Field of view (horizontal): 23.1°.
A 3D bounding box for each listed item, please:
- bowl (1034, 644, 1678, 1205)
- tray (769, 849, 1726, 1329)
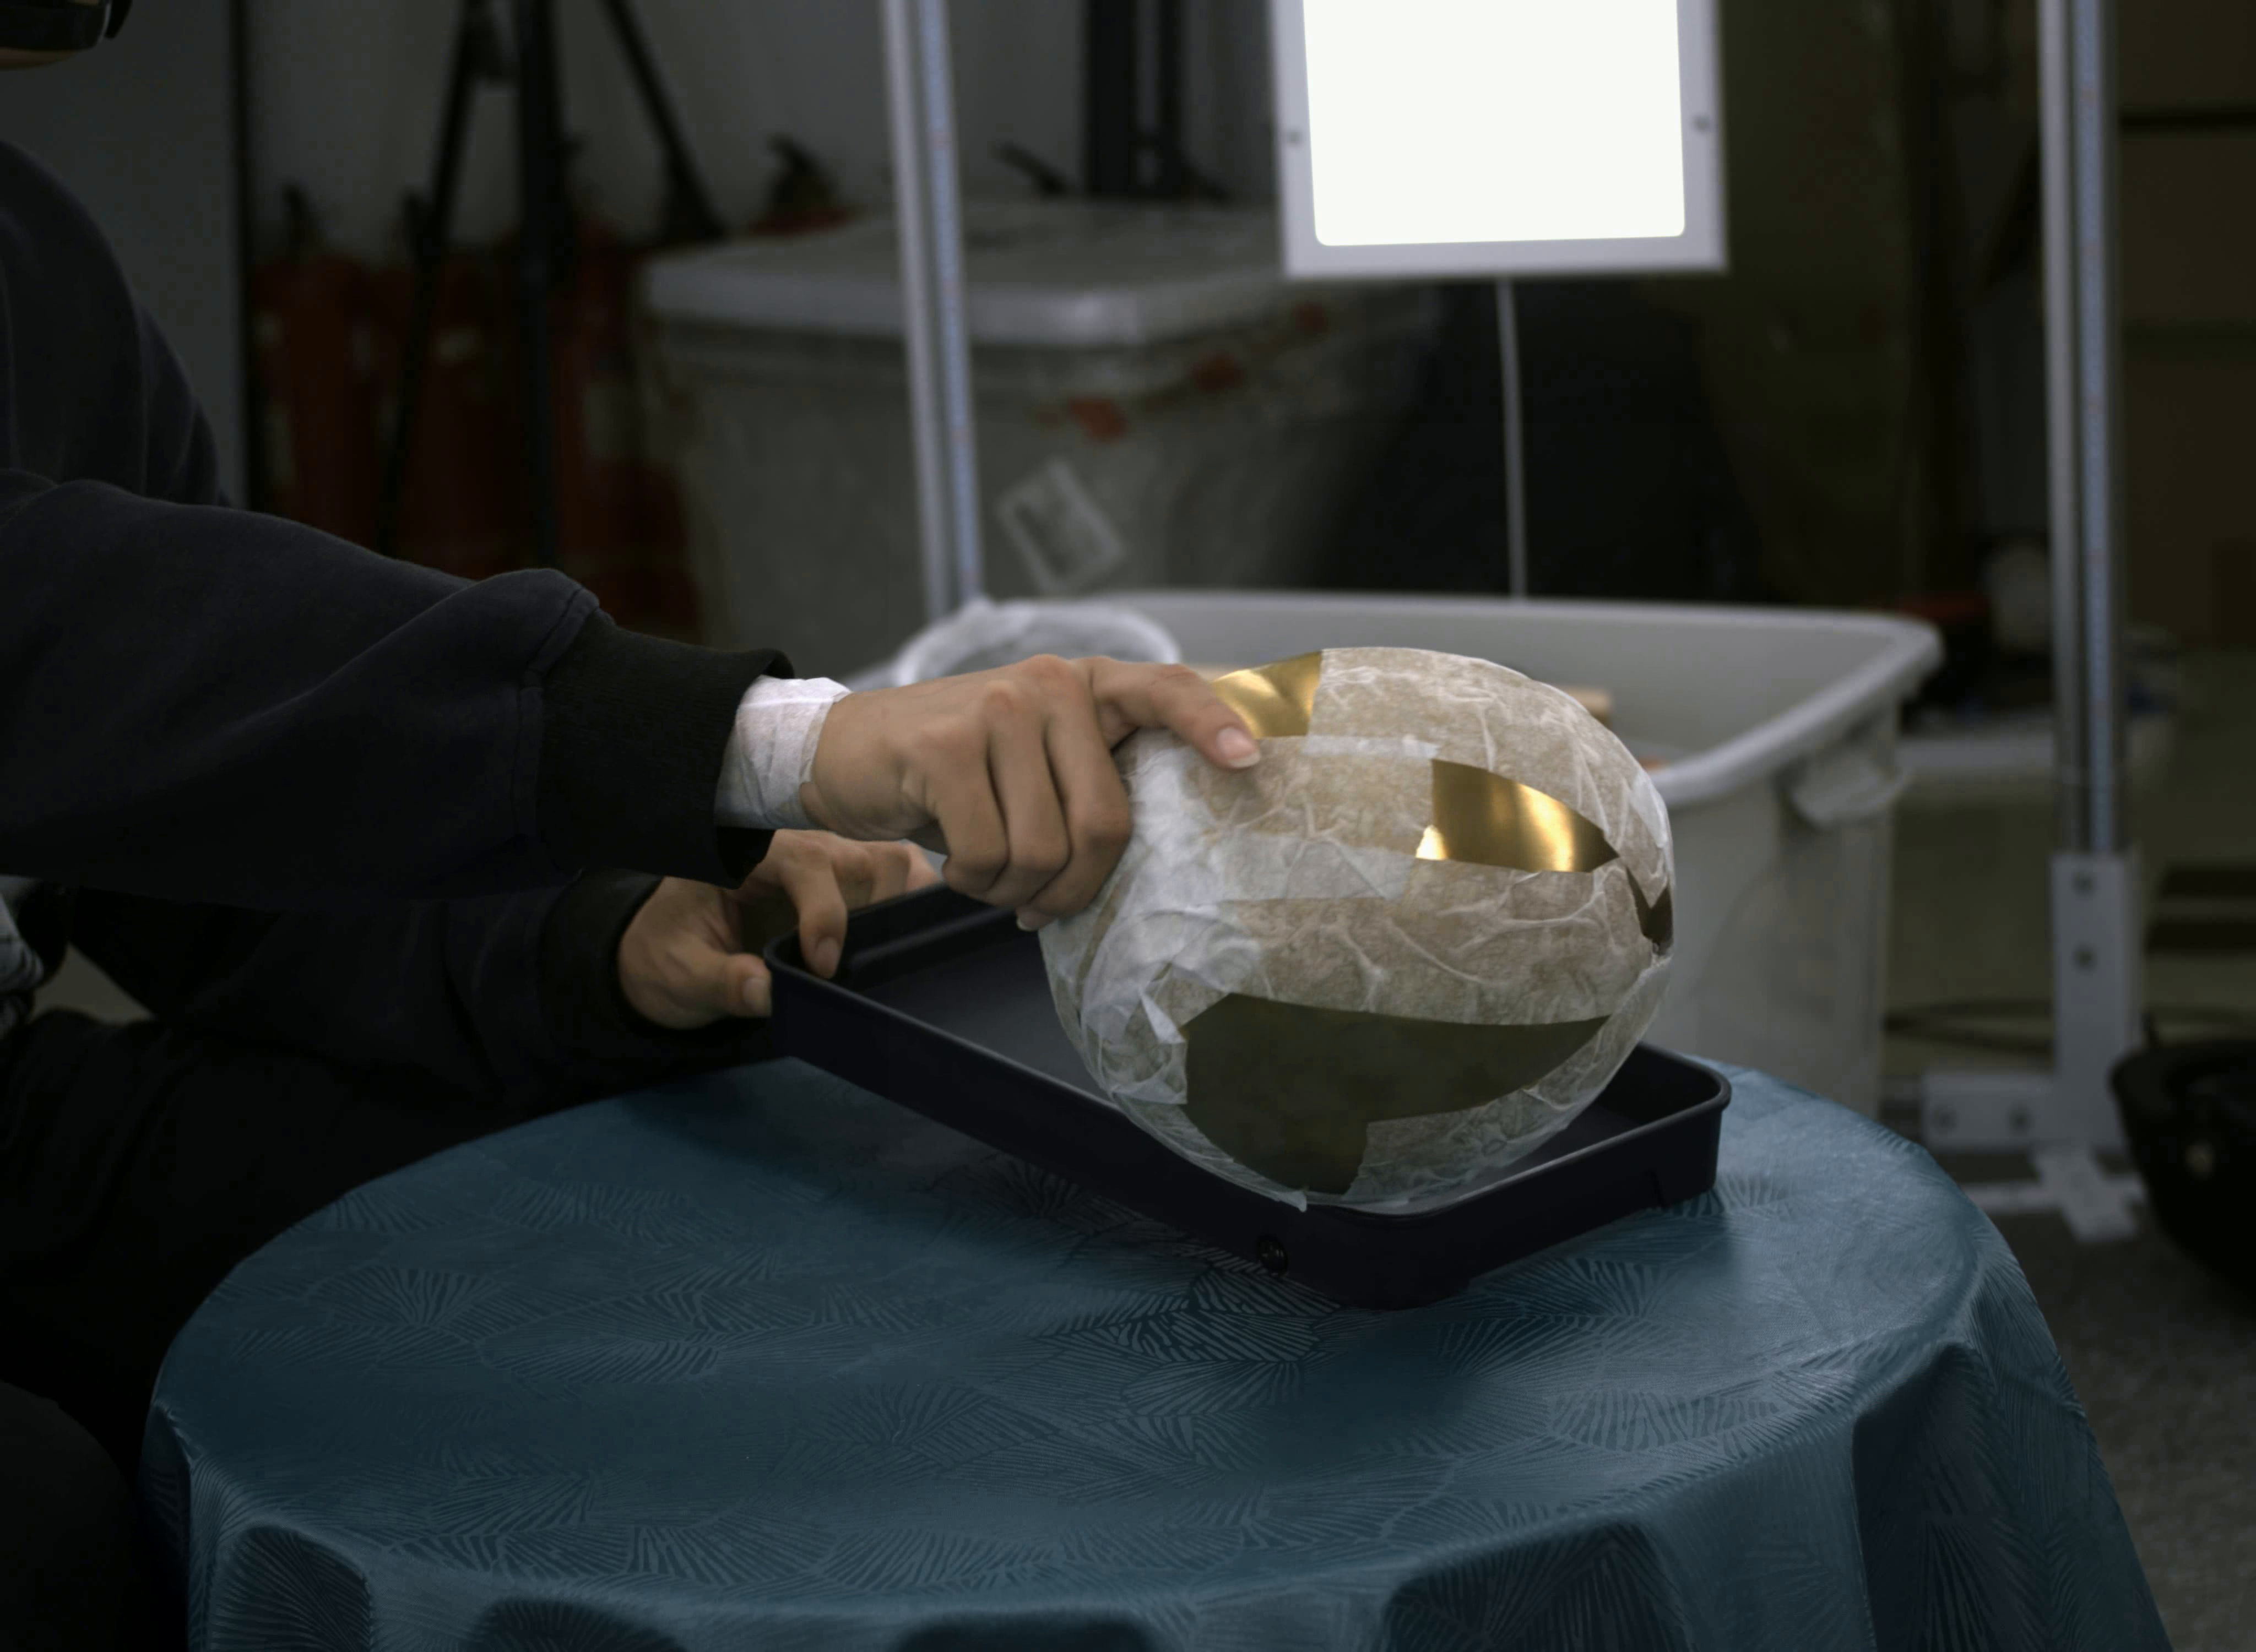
[{"bbox_3d":[0.071,0.051,1.689,0.214,0.215,0.094,-3,44,2],"label":"bowl"},{"bbox_3d":[0.036,0.083,1.900,0.179,0.037,0.324,-15,27,-39],"label":"tray"}]
